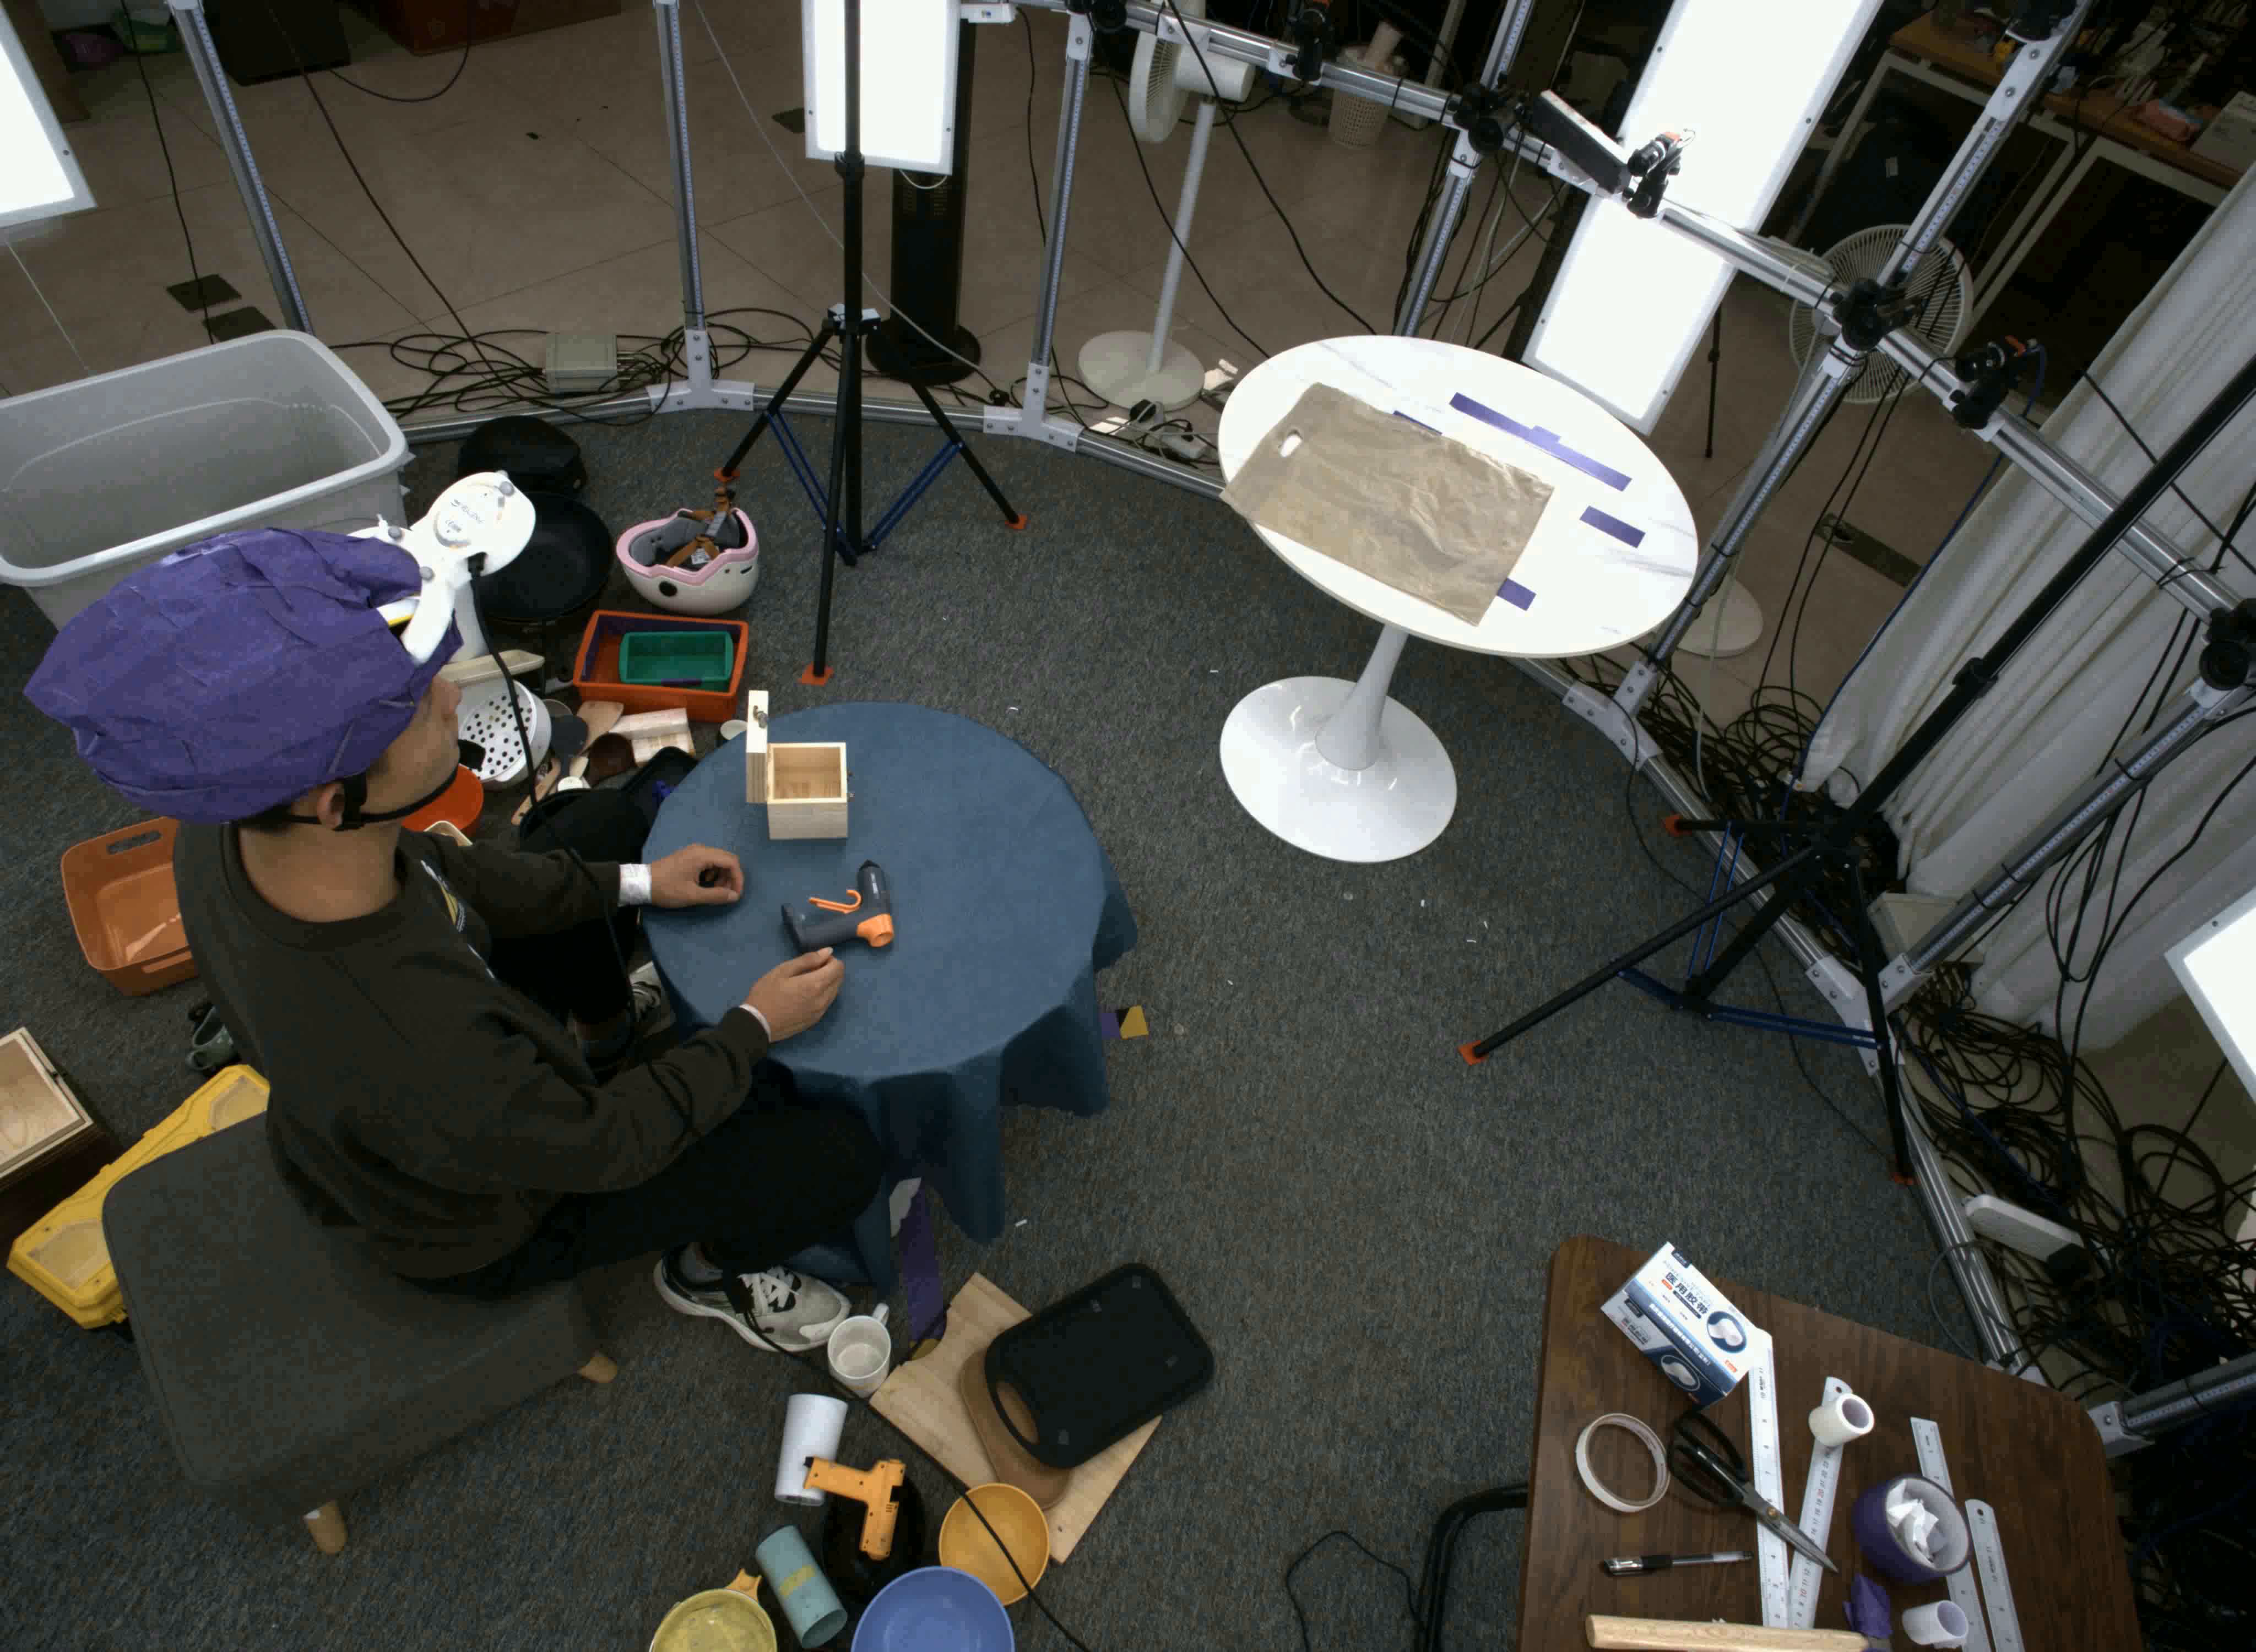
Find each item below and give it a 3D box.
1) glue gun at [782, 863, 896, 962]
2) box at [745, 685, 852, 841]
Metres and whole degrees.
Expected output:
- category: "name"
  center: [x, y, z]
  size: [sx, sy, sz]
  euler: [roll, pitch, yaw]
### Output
- category: "glue gun"
  center: [-0.359, 0.107, 1.635]
  size: [0.140, 0.042, 0.115]
  euler: [-20, 59, -29]
- category: "box"
  center: [-0.421, -0.080, 1.659]
  size: [0.134, 0.188, 0.100]
  euler: [-3, 53, -15]
